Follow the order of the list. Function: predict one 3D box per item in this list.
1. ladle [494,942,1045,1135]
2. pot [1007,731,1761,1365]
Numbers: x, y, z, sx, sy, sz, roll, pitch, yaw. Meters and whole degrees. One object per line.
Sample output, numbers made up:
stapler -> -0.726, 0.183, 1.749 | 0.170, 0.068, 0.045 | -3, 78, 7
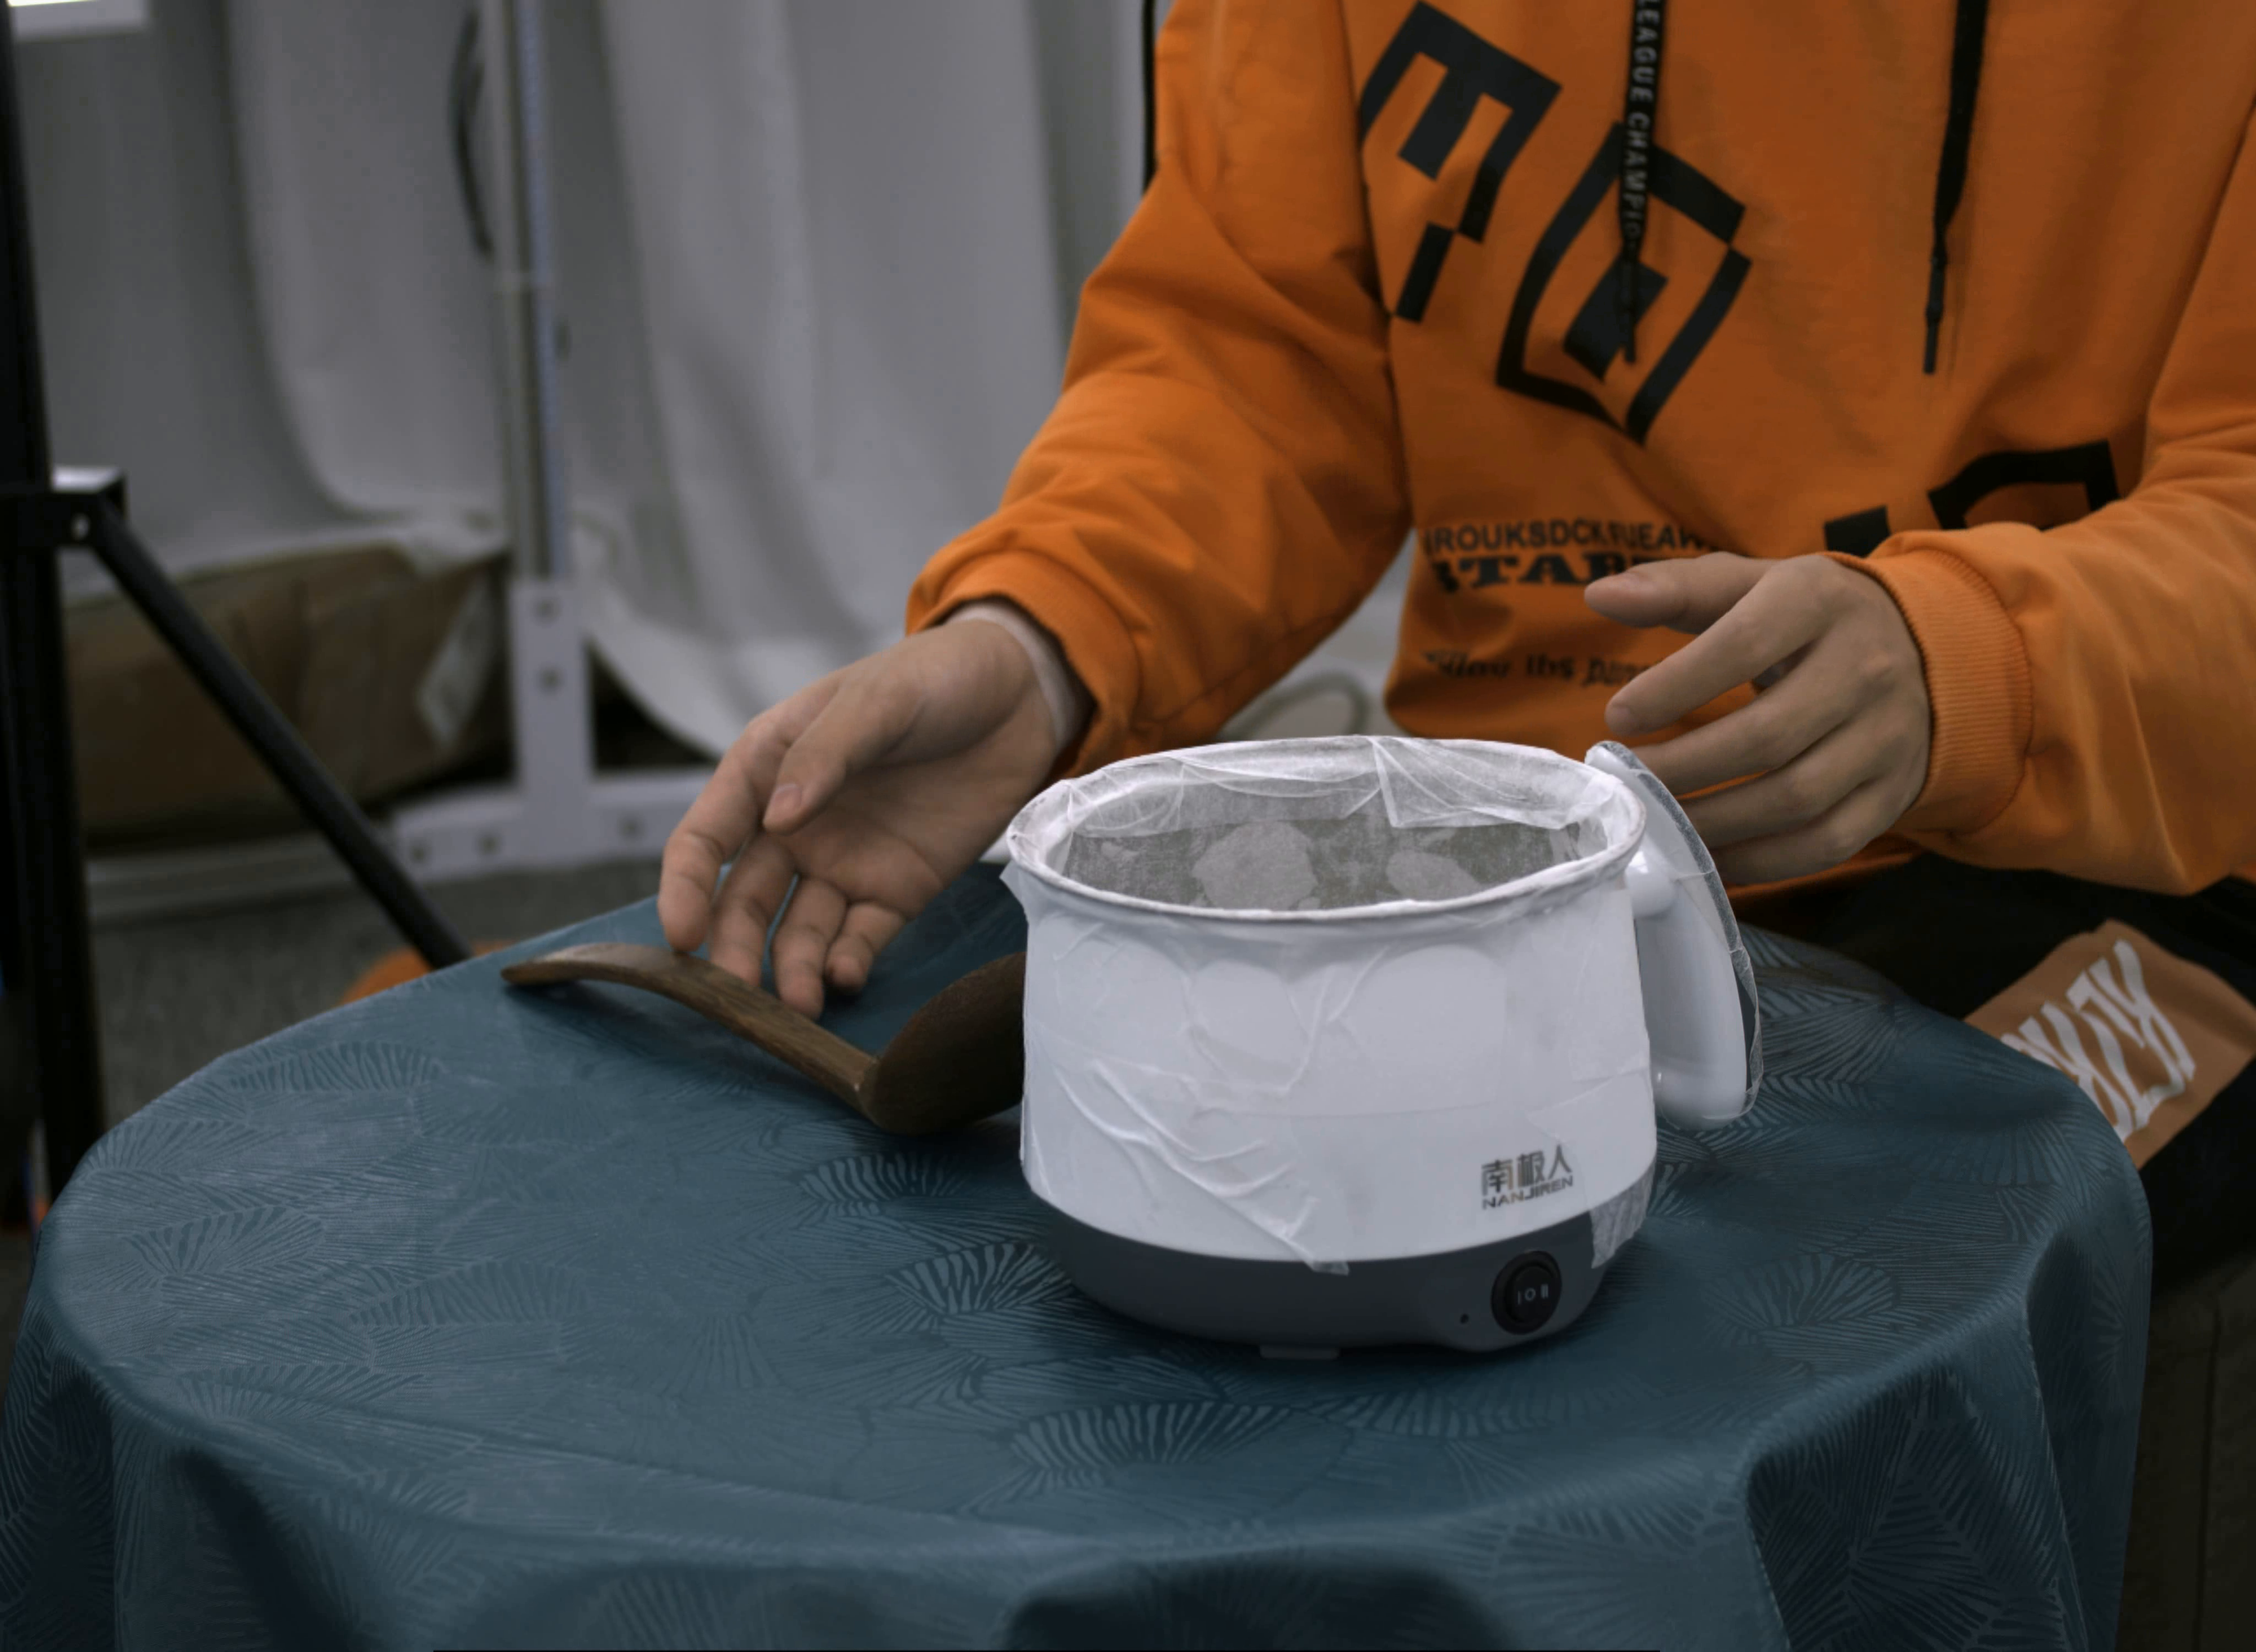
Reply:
ladle -> -0.116, 0.044, 1.677 | 0.074, 0.071, 0.280 | -10, 18, -37
pot -> 0.080, 0.054, 1.483 | 0.228, 0.136, 0.183 | -13, 19, -32
